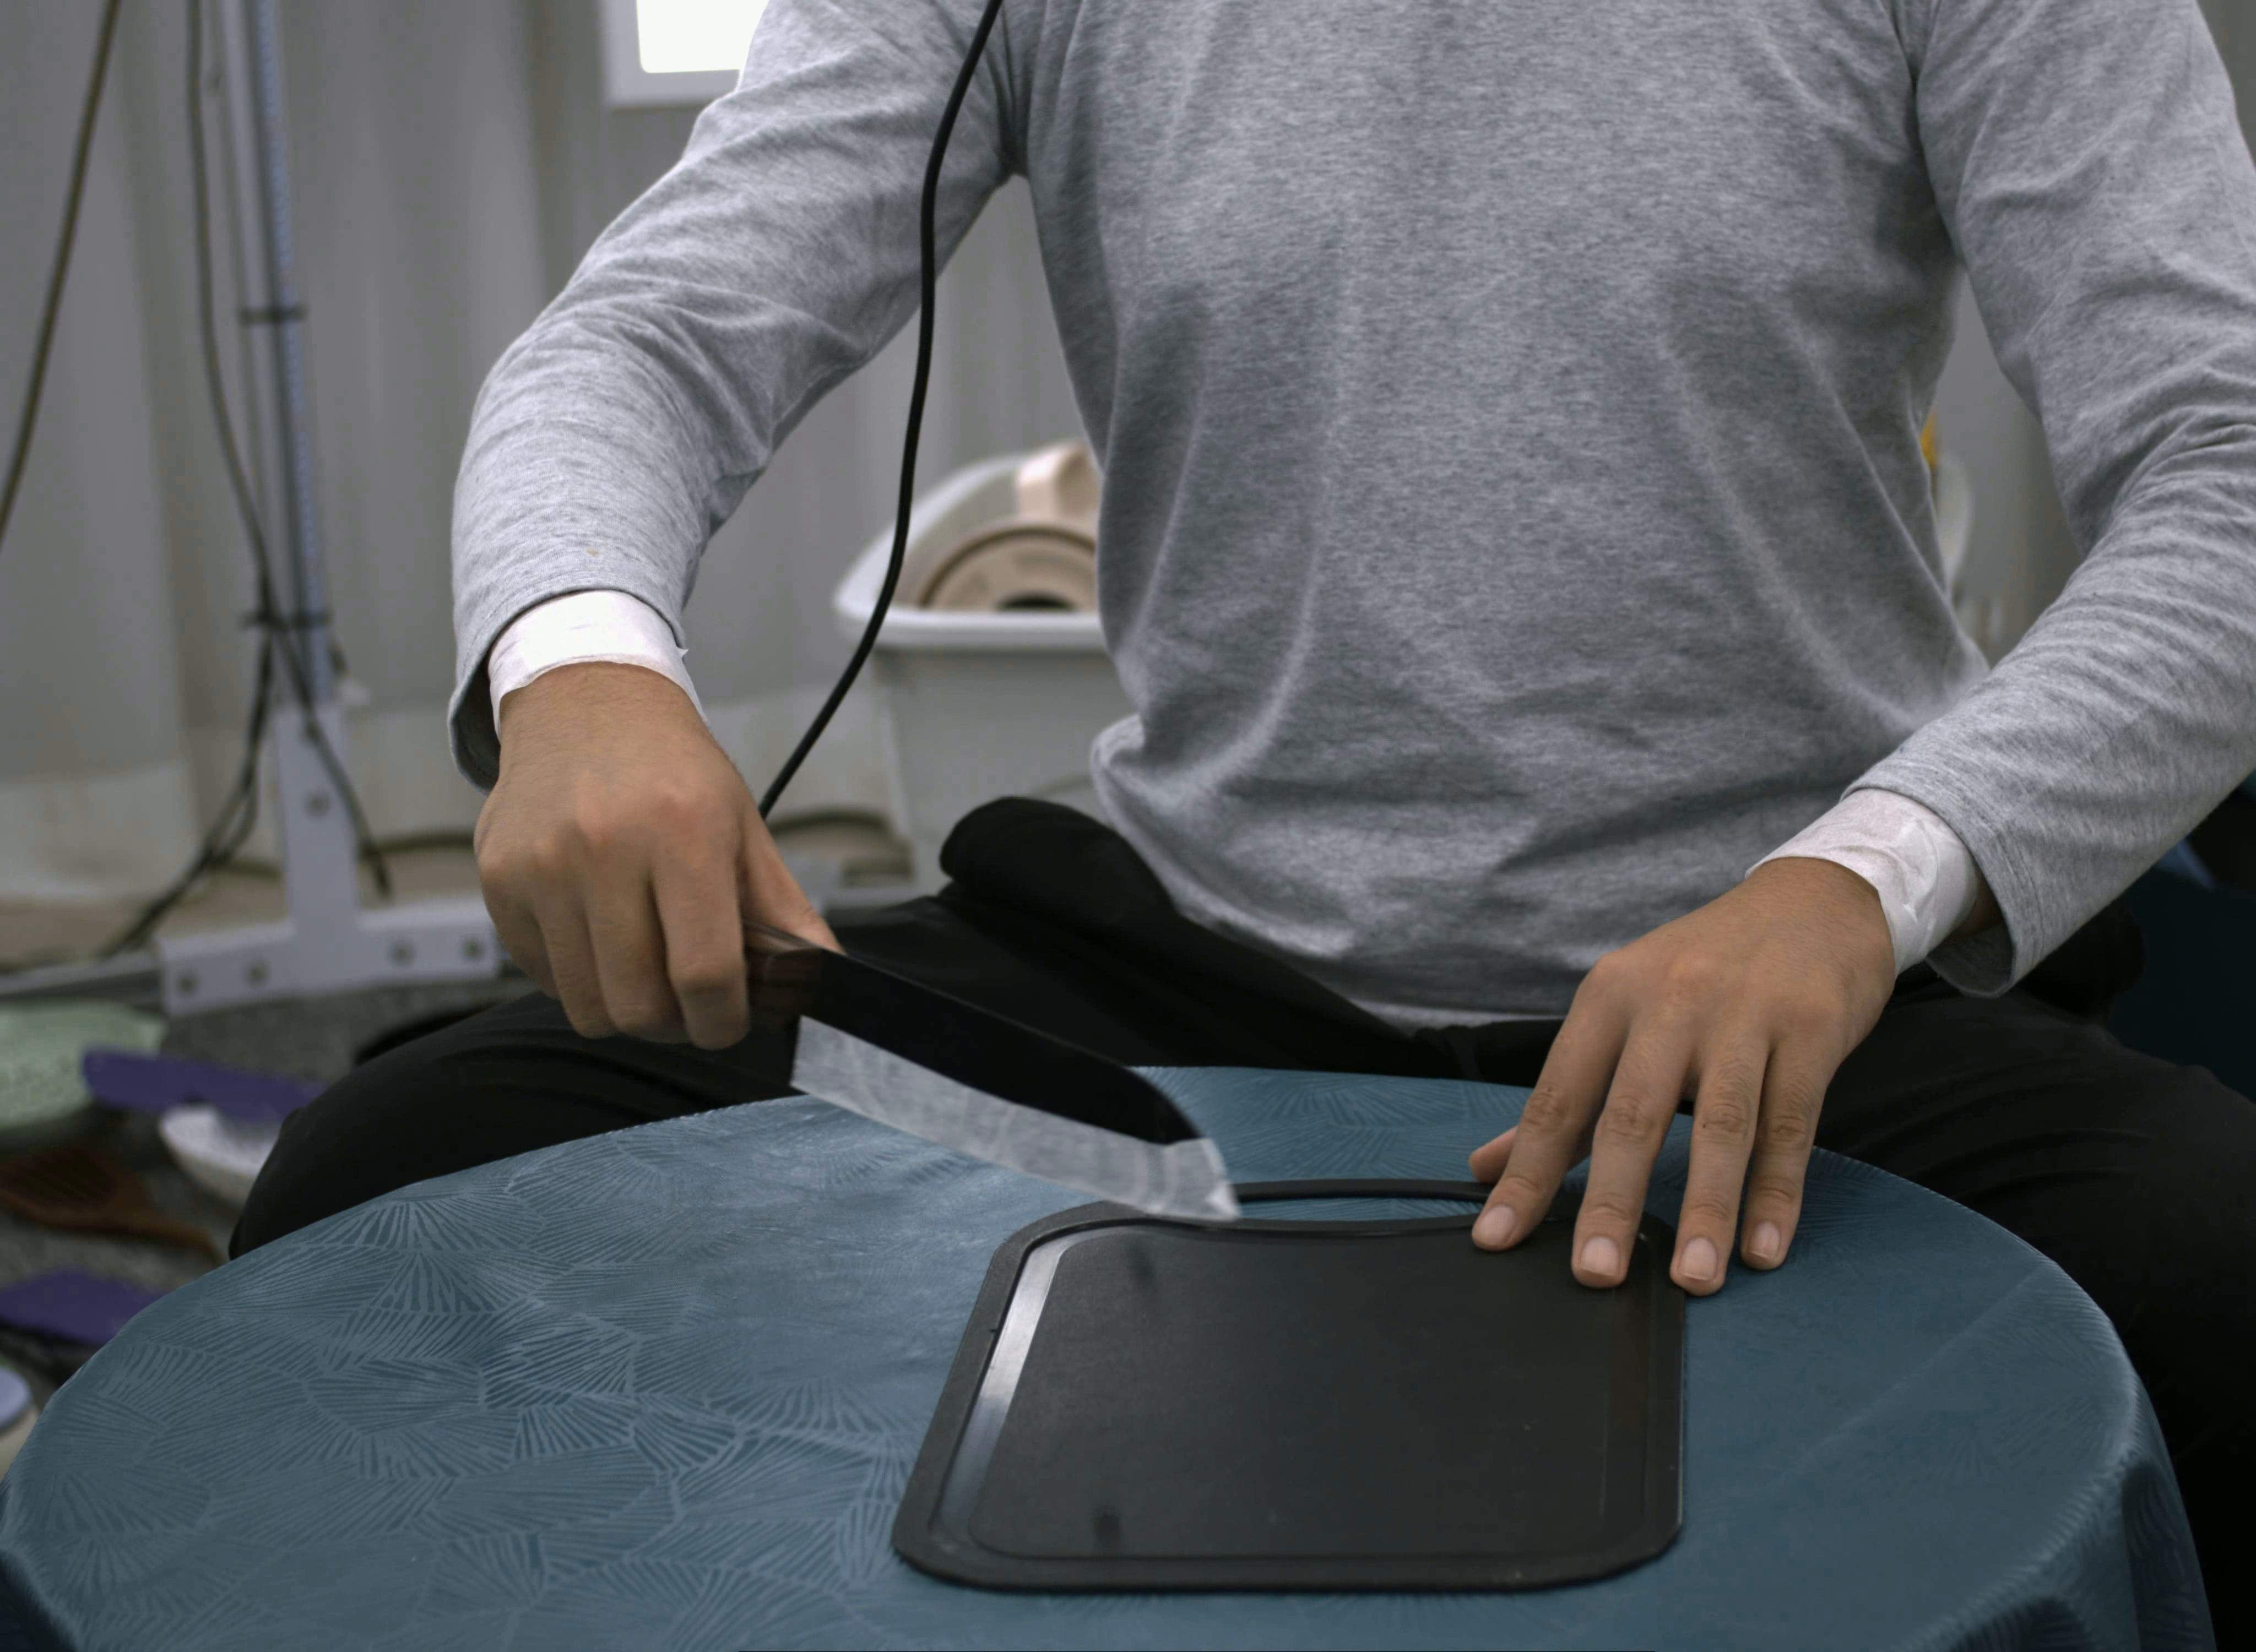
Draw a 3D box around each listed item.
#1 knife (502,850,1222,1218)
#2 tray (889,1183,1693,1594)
[{"bbox_3d":[-0.080,0.058,1.582,0.291,0.050,0.020,22,19,38],"label":"knife"},{"bbox_3d":[0.053,0.153,1.553,0.210,0.010,0.327,-1,15,7],"label":"tray"}]
